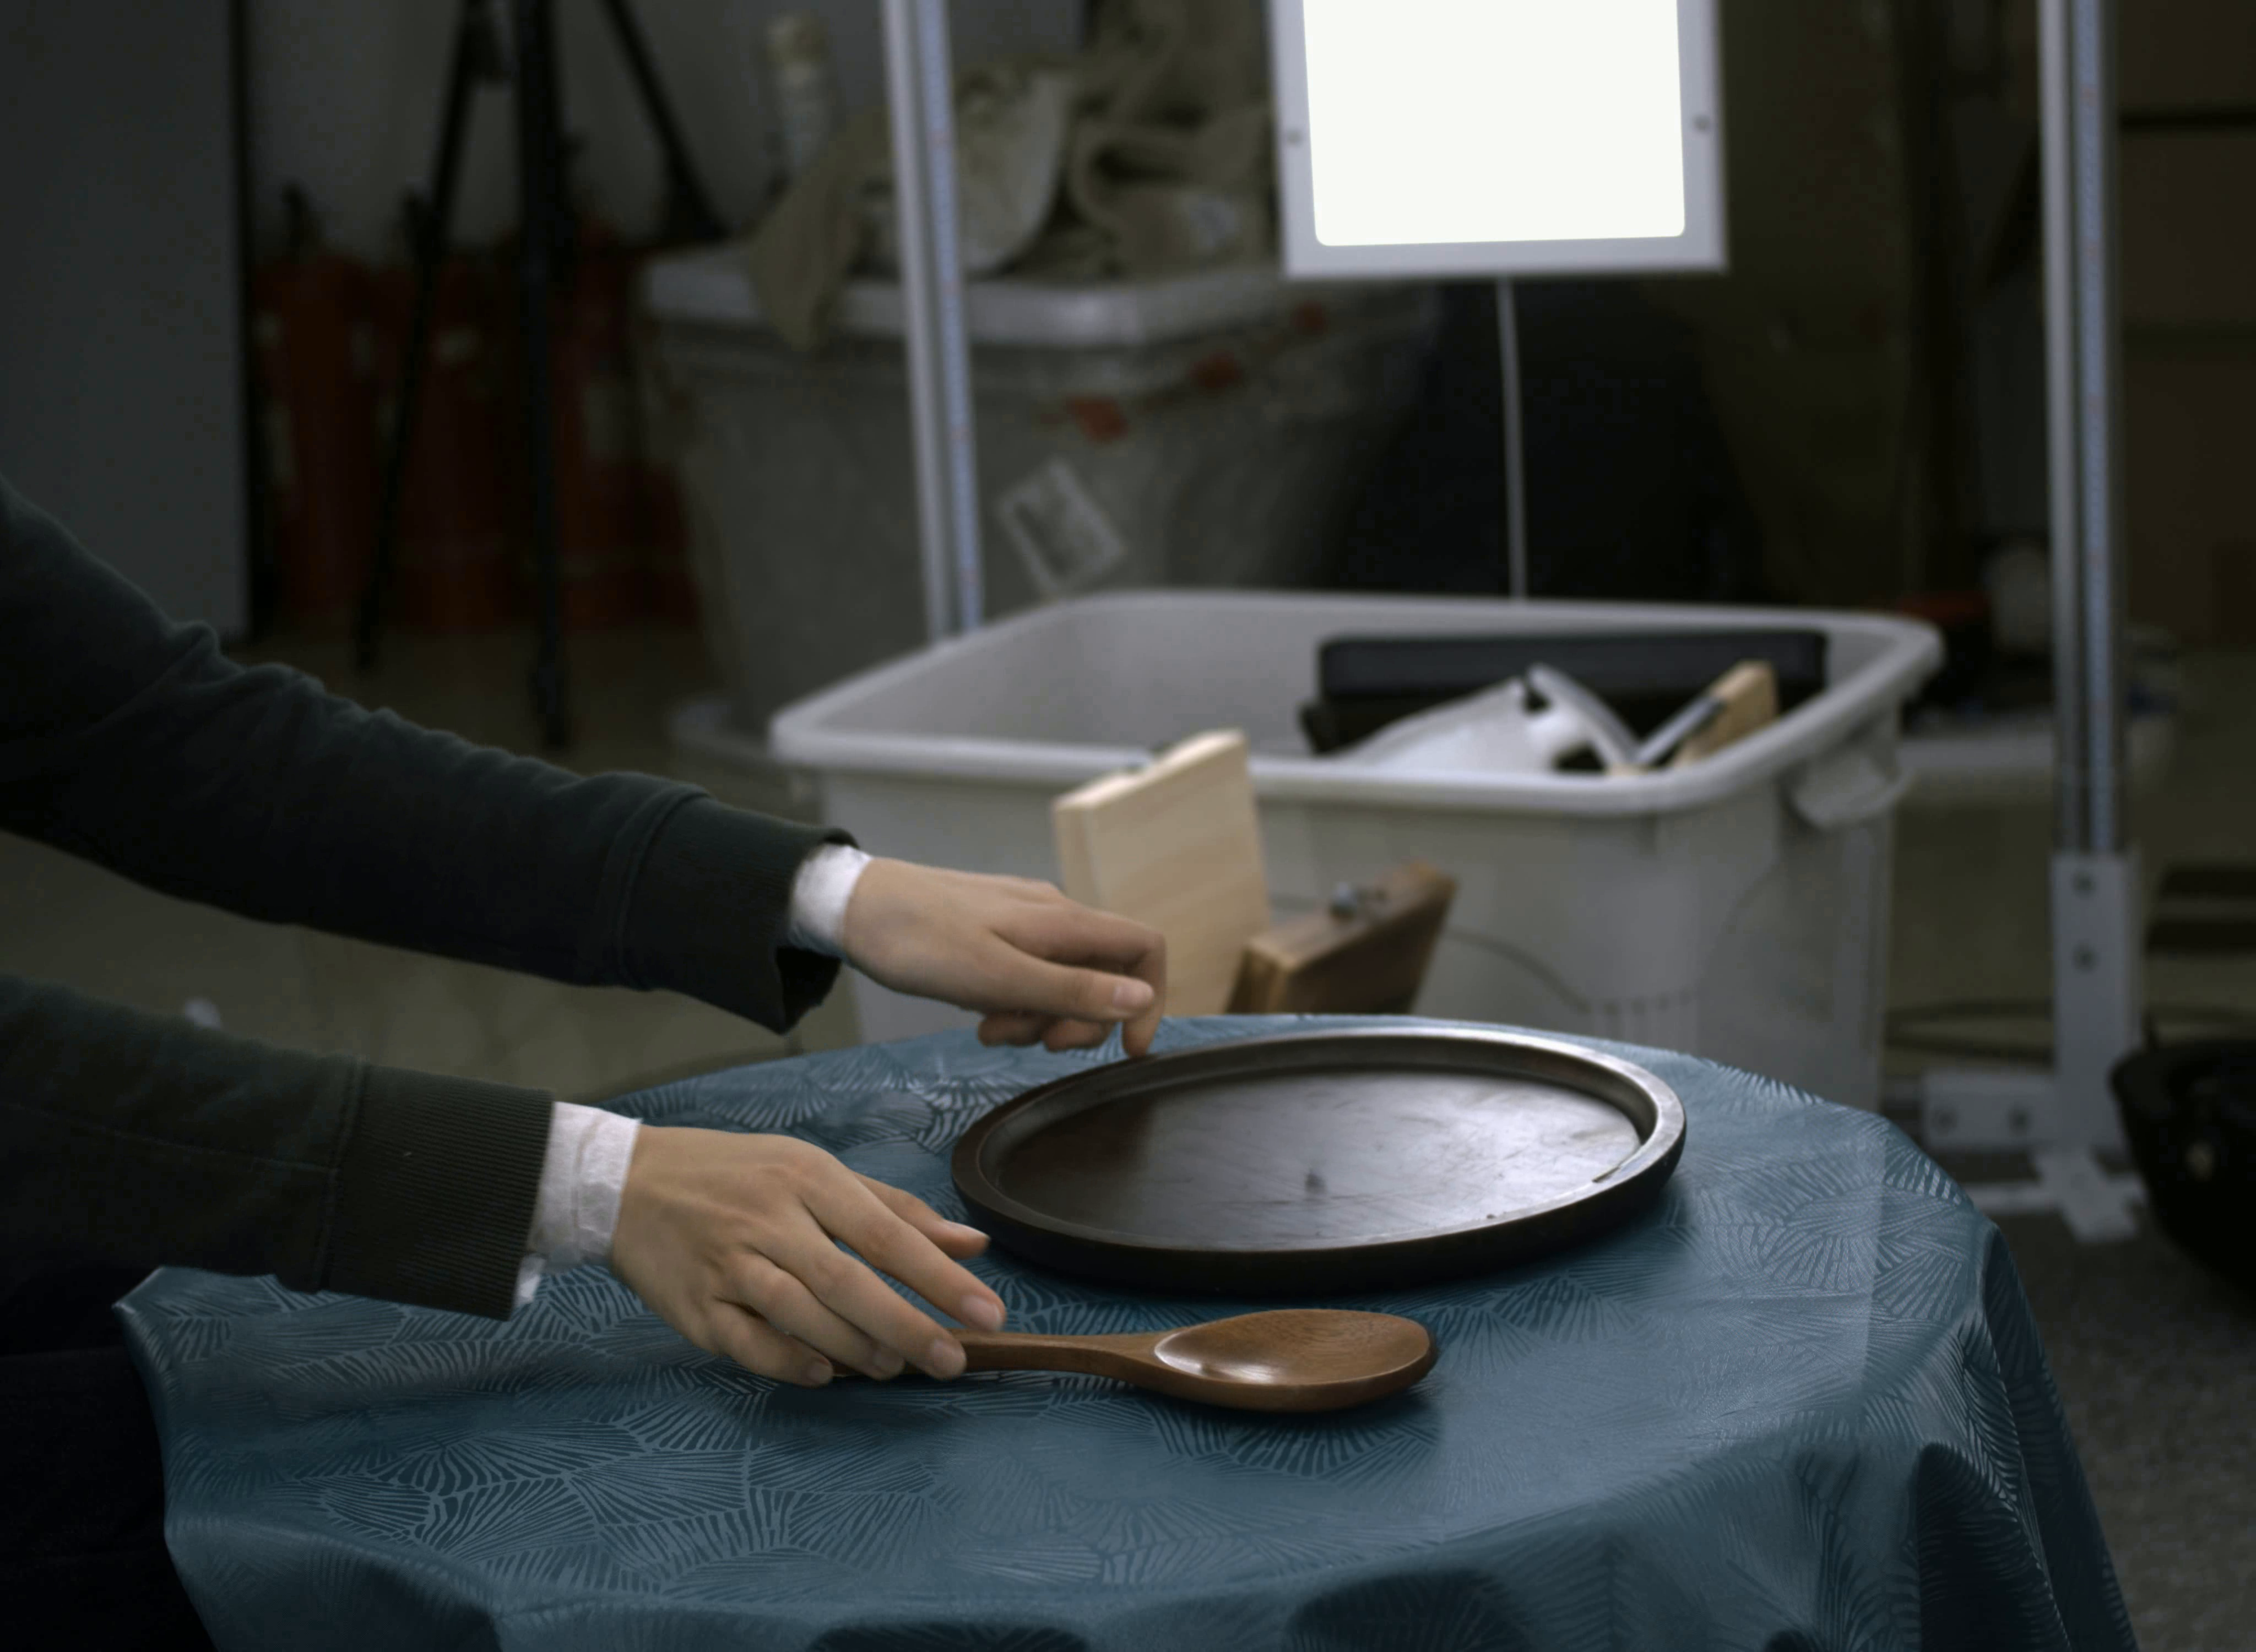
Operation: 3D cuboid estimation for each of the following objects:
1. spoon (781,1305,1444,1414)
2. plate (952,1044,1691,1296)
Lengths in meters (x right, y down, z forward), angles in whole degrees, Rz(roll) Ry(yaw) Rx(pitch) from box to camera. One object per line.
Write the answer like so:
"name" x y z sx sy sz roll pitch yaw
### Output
"spoon" -0.006 0.165 1.708 0.219 0.017 0.074 1 15 21
"plate" 0.066 0.115 1.877 0.254 0.029 0.254 -4 13 -1
